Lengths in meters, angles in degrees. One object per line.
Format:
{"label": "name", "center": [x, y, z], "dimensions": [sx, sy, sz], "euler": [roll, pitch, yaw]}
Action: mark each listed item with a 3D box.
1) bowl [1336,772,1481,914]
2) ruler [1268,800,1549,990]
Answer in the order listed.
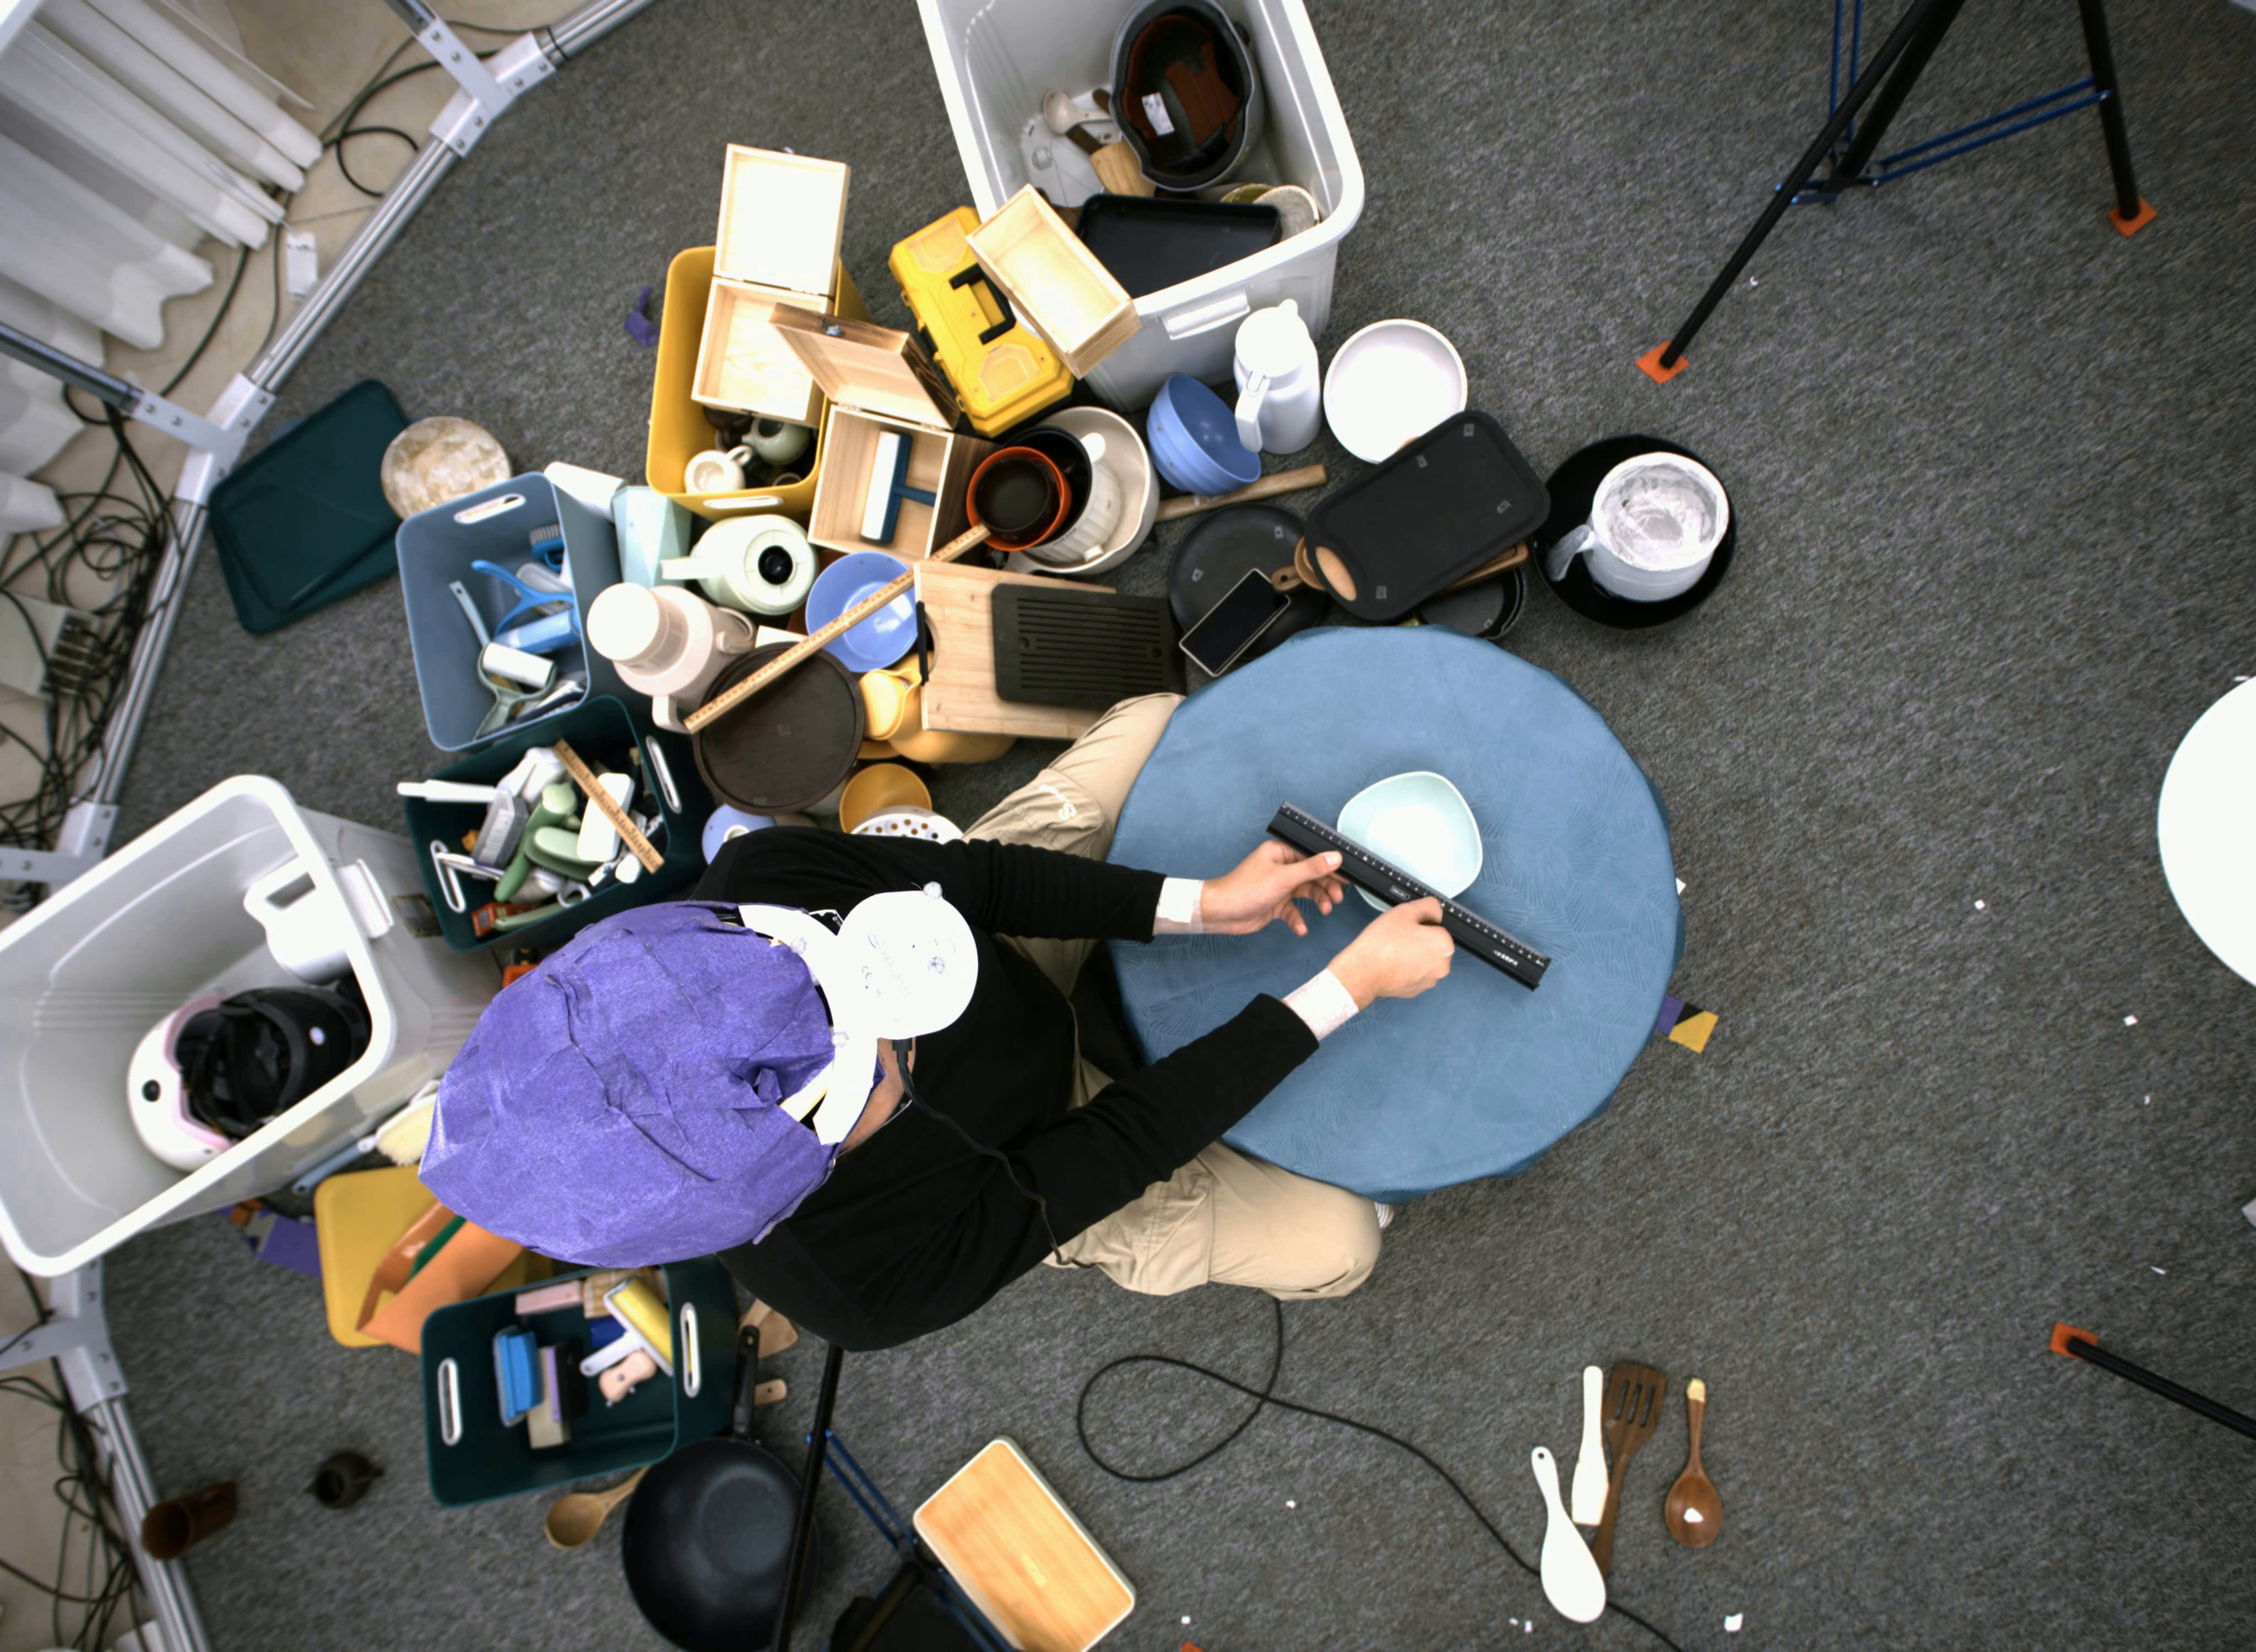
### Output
{"label": "bowl", "center": [0.290, 0.018, 1.432], "dimensions": [0.152, 0.058, 0.151], "euler": [-1, 87, 9]}
{"label": "ruler", "center": [0.283, 0.066, 1.389], "dimensions": [0.312, 0.017, 0.039], "euler": [32, 85, 6]}
